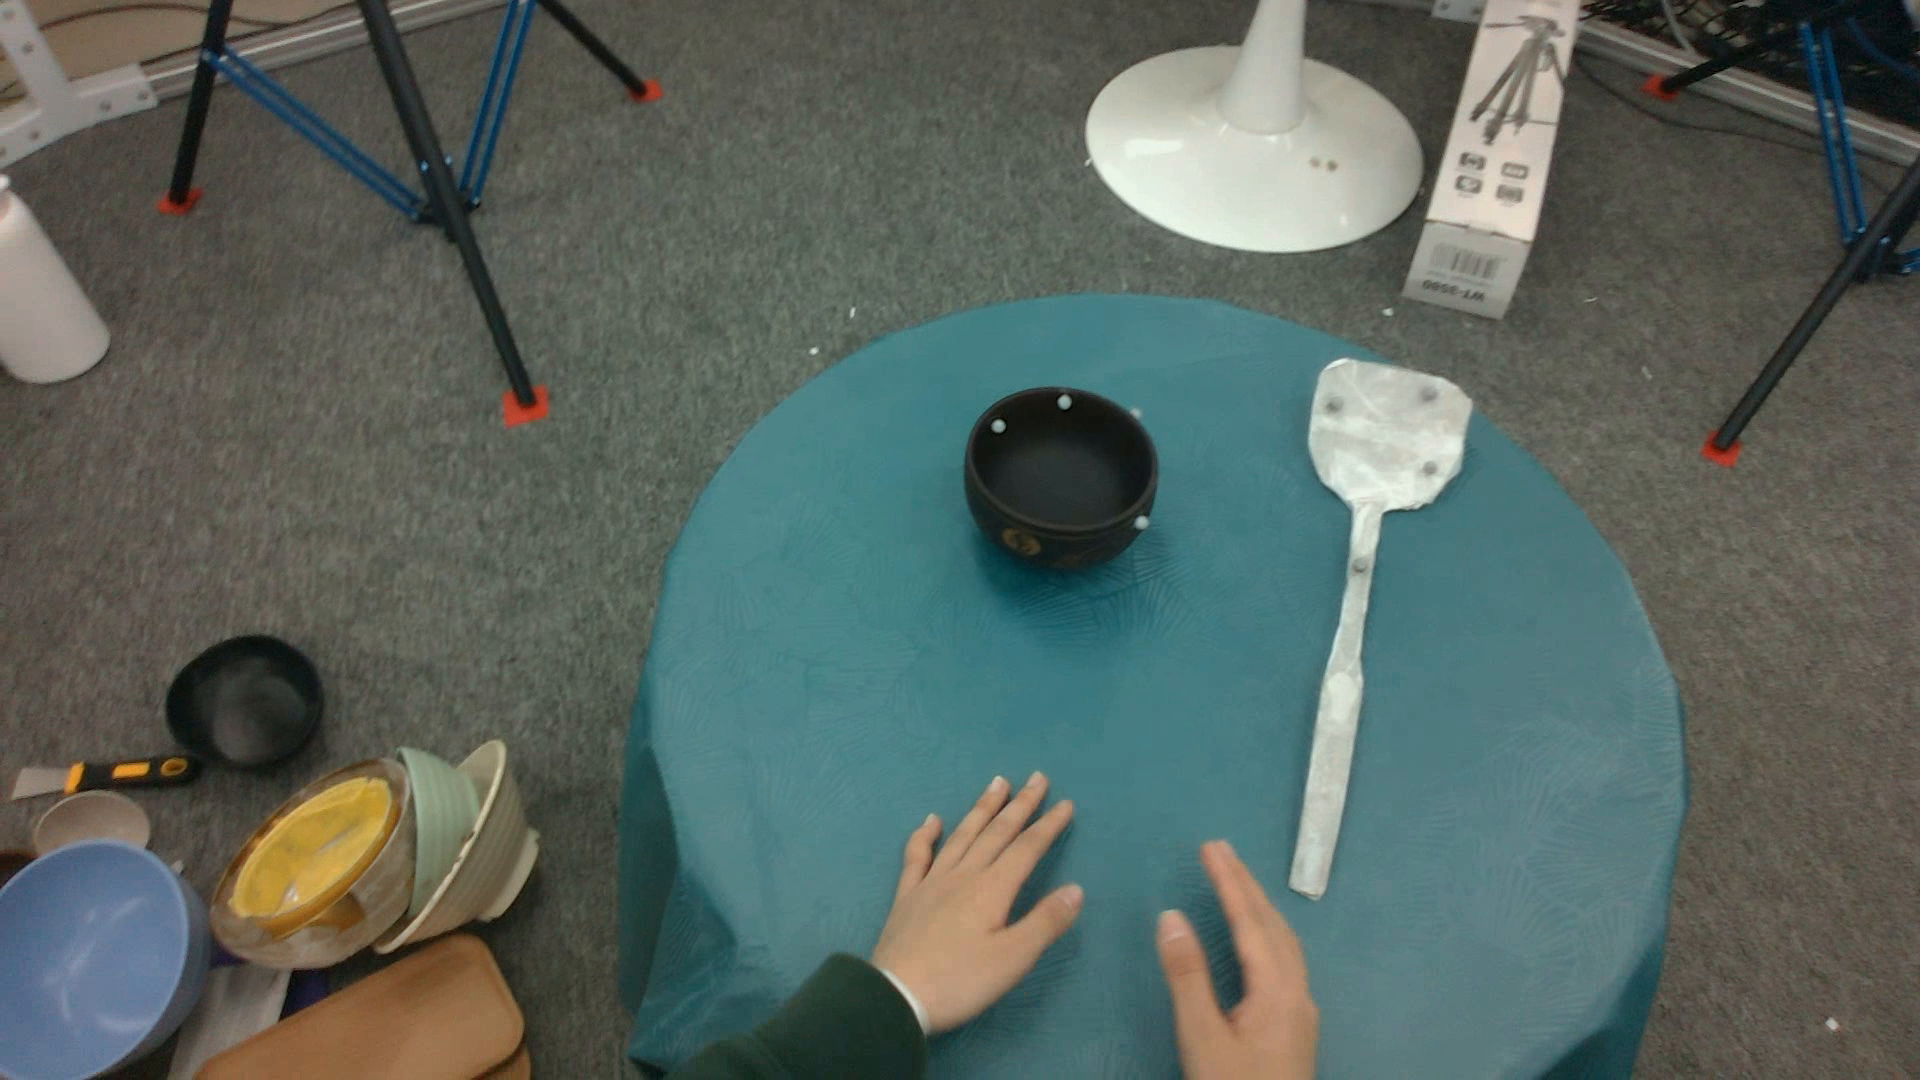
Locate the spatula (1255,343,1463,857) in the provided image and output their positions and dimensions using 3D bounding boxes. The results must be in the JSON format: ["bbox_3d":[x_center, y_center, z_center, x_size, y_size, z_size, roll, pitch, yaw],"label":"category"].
[{"bbox_3d":[0.227,0.023,0.817,0.098,0.044,0.367,18,53,8],"label":"spatula"}]

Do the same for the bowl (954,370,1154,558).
[{"bbox_3d":[0.055,-0.038,0.832,0.118,0.069,0.118,1,53,-1],"label":"bowl"}]
